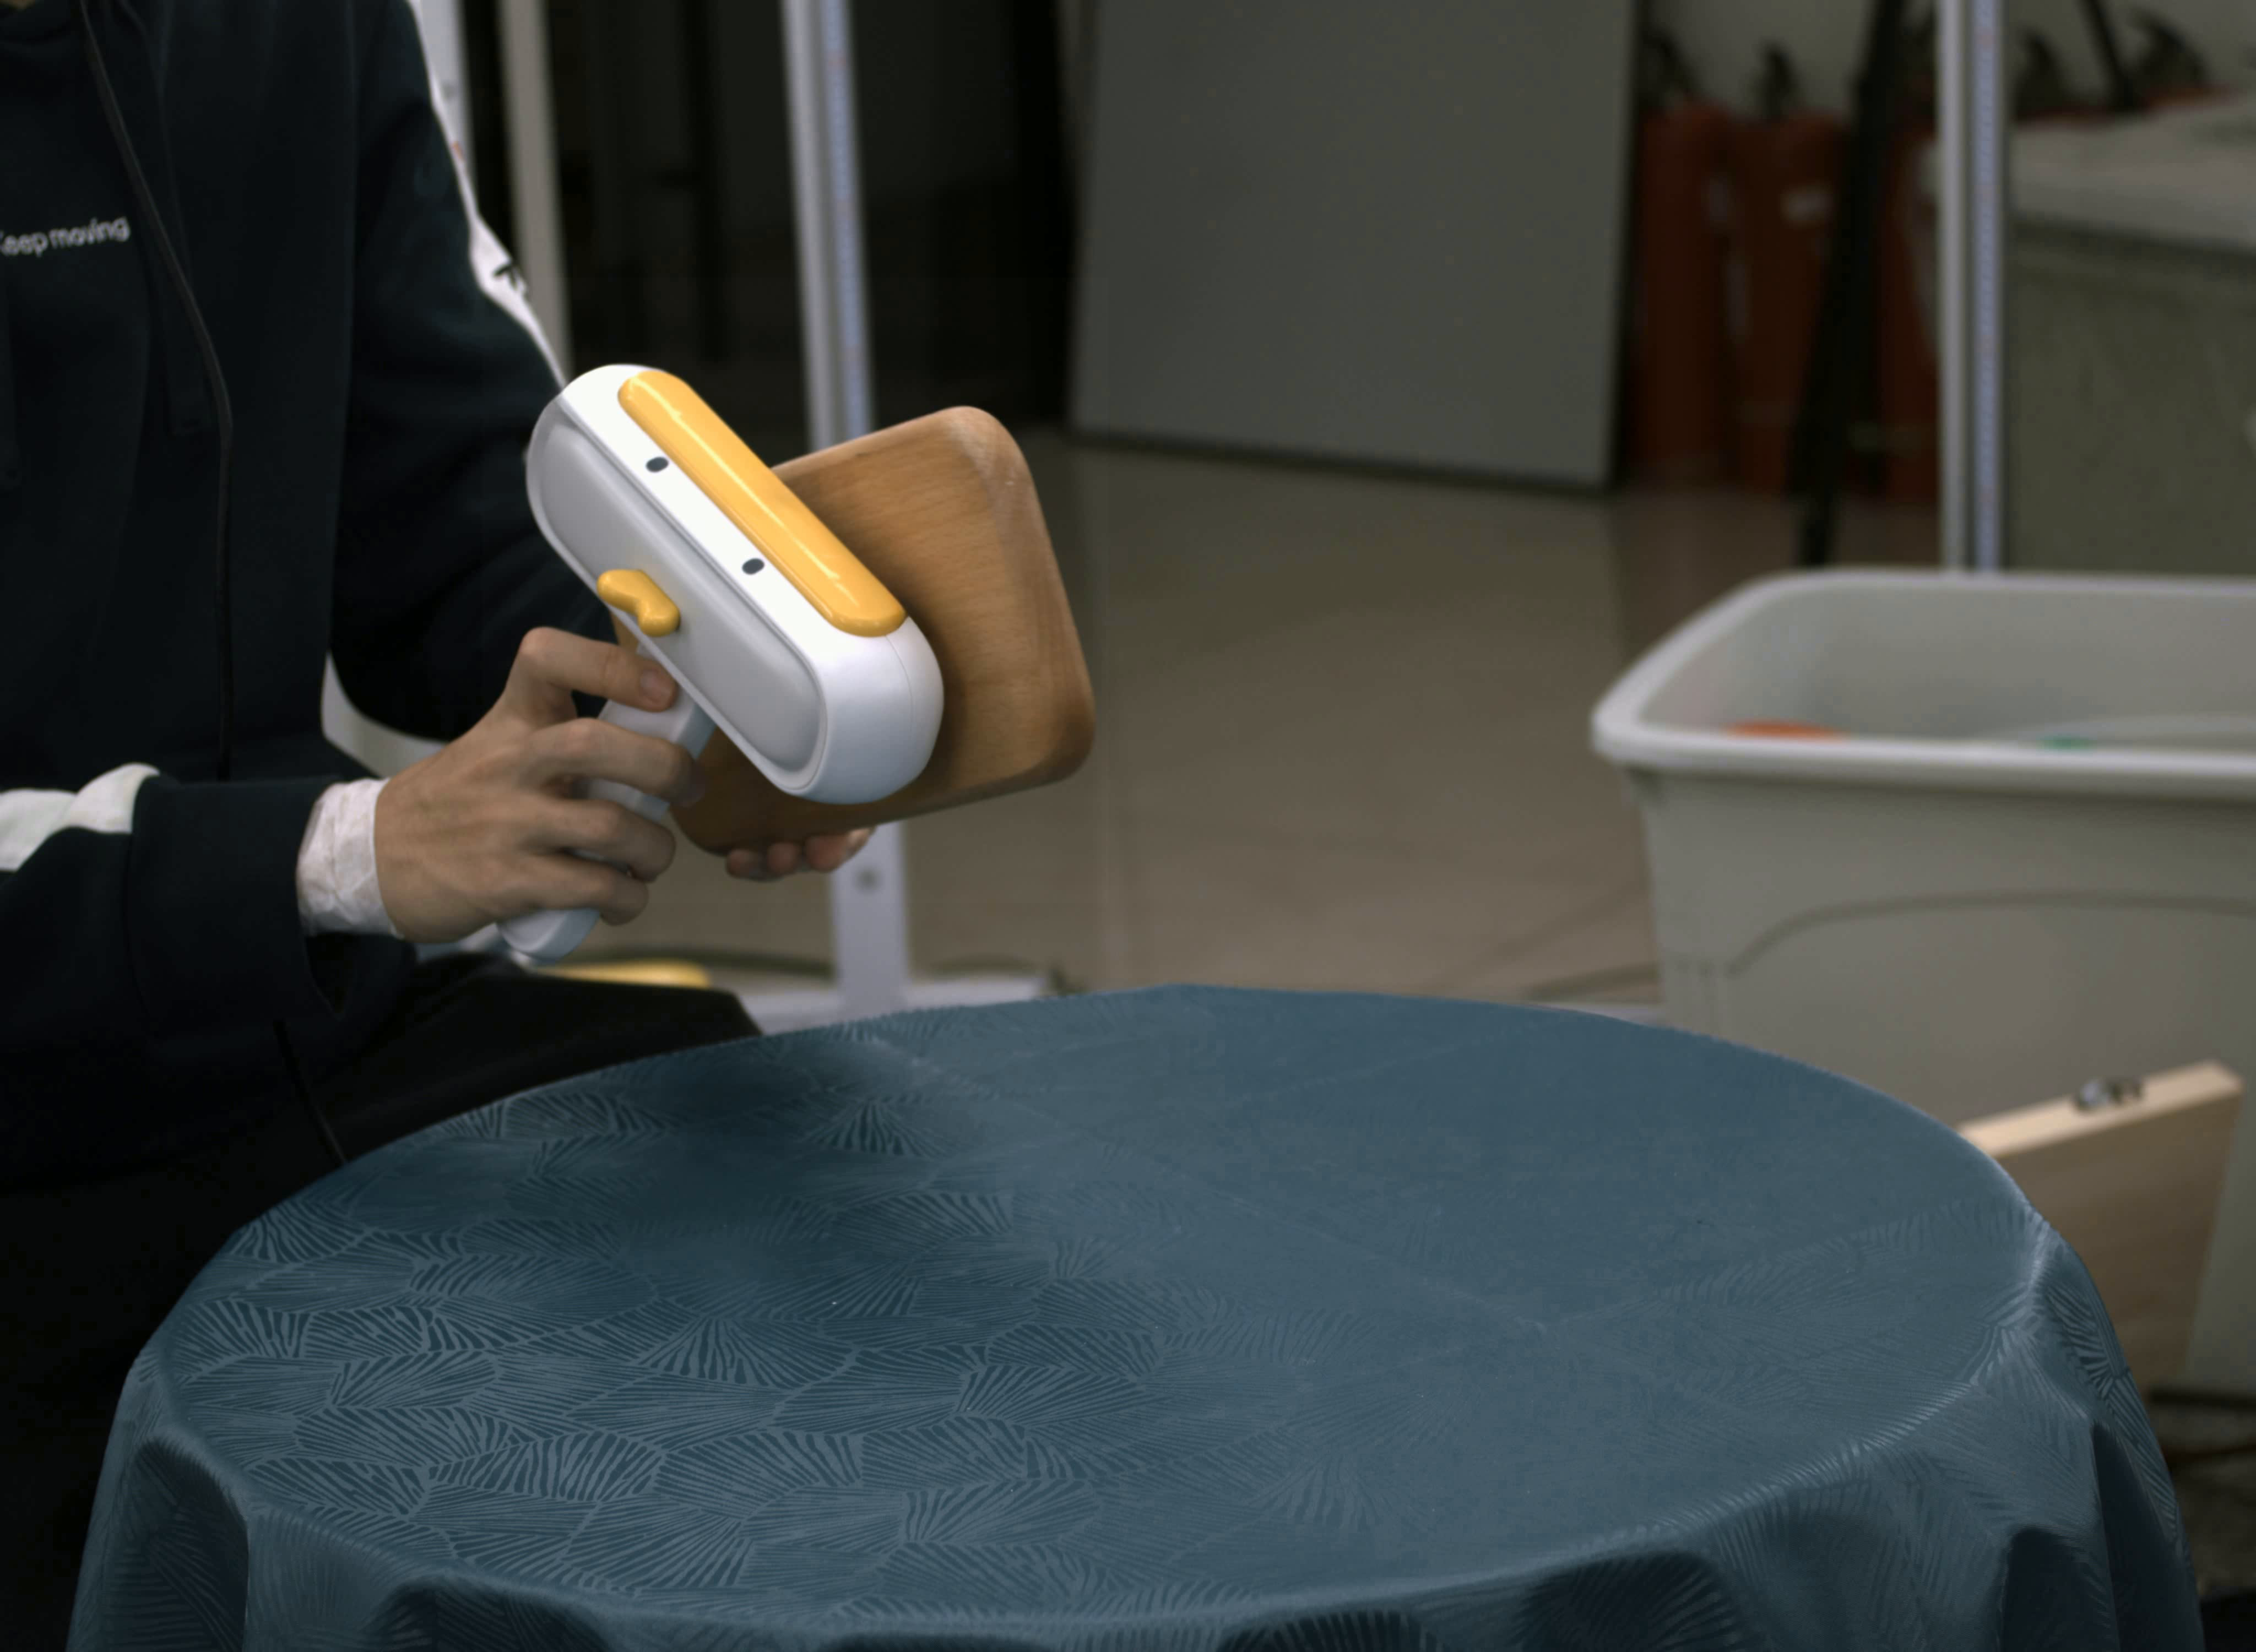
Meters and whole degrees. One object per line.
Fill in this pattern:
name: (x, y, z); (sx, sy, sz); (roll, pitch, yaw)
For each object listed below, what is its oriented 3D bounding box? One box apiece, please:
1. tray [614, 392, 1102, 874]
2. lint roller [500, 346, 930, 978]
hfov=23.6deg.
tray: (-0.097, -0.060, 1.814); (0.022, 0.132, 0.253); (-14, -1, -37)
lint roller: (-0.158, -0.037, 1.816); (0.072, 0.194, 0.194); (-15, 43, -45)
